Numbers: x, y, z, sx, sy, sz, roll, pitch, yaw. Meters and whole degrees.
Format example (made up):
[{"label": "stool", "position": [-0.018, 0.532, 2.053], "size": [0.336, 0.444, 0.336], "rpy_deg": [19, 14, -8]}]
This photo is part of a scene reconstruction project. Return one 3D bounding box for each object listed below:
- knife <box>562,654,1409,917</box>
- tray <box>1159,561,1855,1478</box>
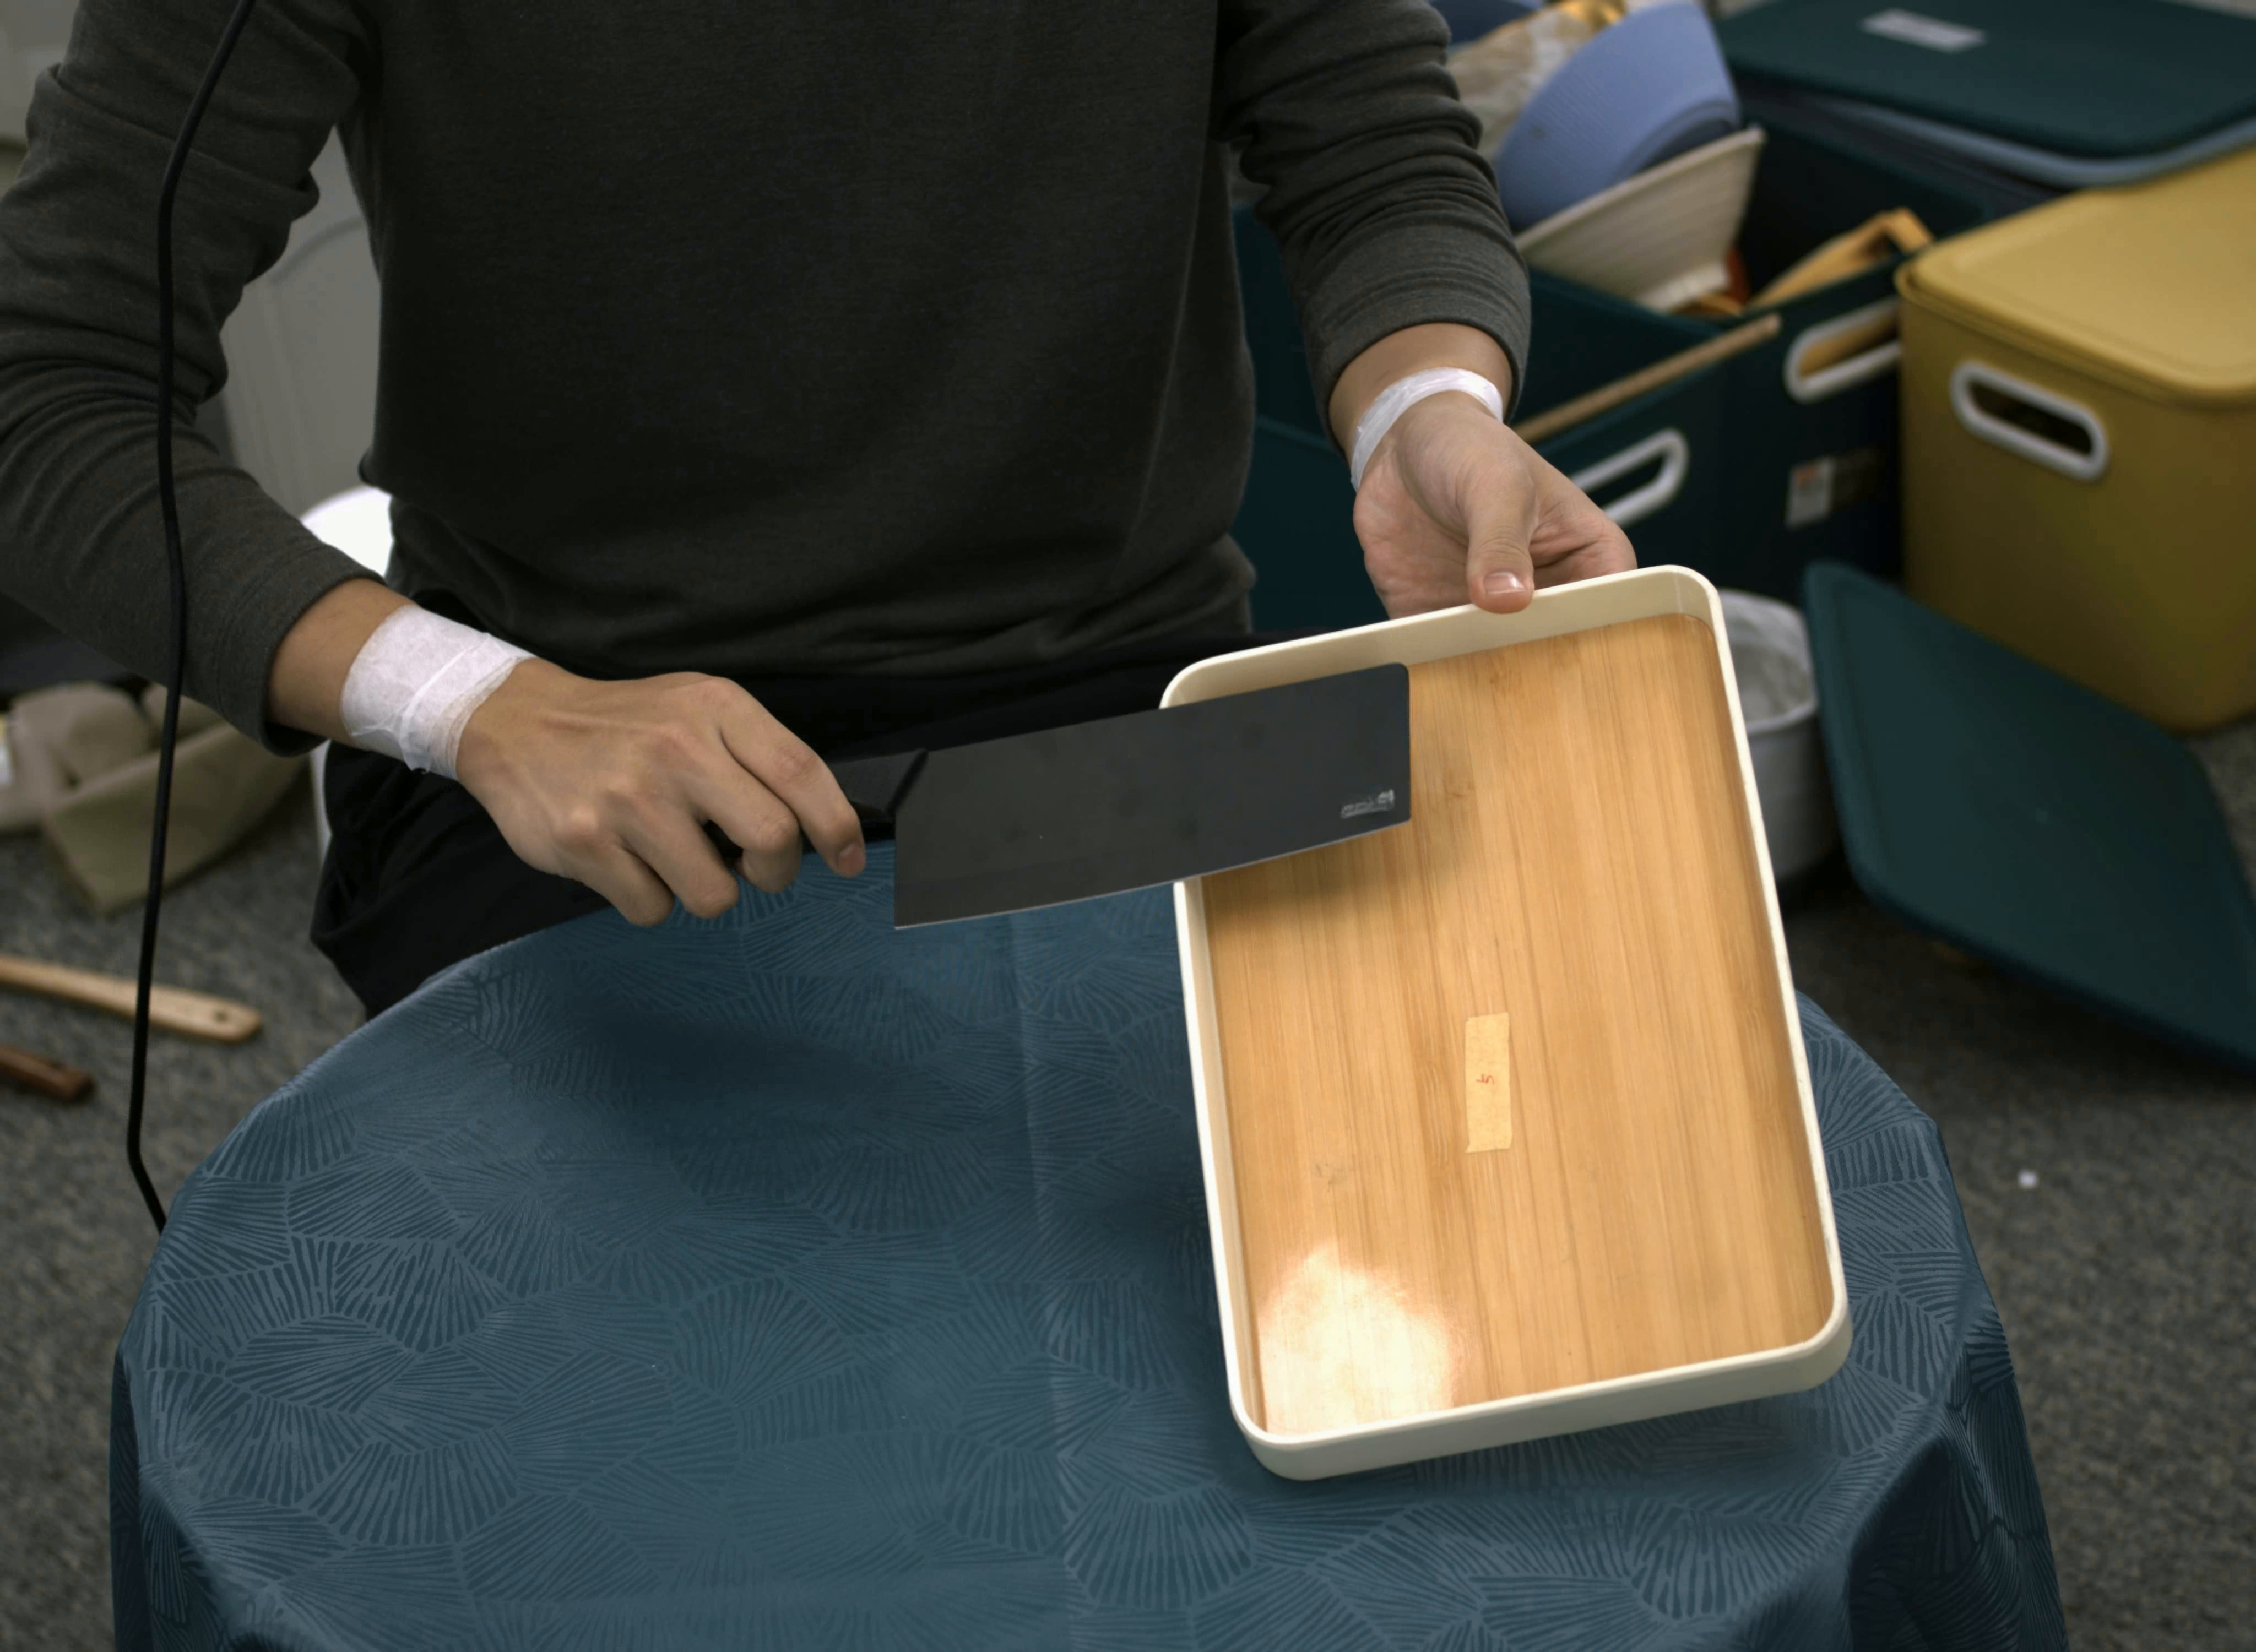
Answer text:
[{"label": "knife", "position": [-0.049, -0.005, 1.857], "size": [0.299, 0.020, 0.082], "rpy_deg": [-7, 57, 19]}, {"label": "tray", "position": [0.115, 0.056, 1.777], "size": [0.190, 0.027, 0.306], "rpy_deg": [-11, 53, 7]}]
